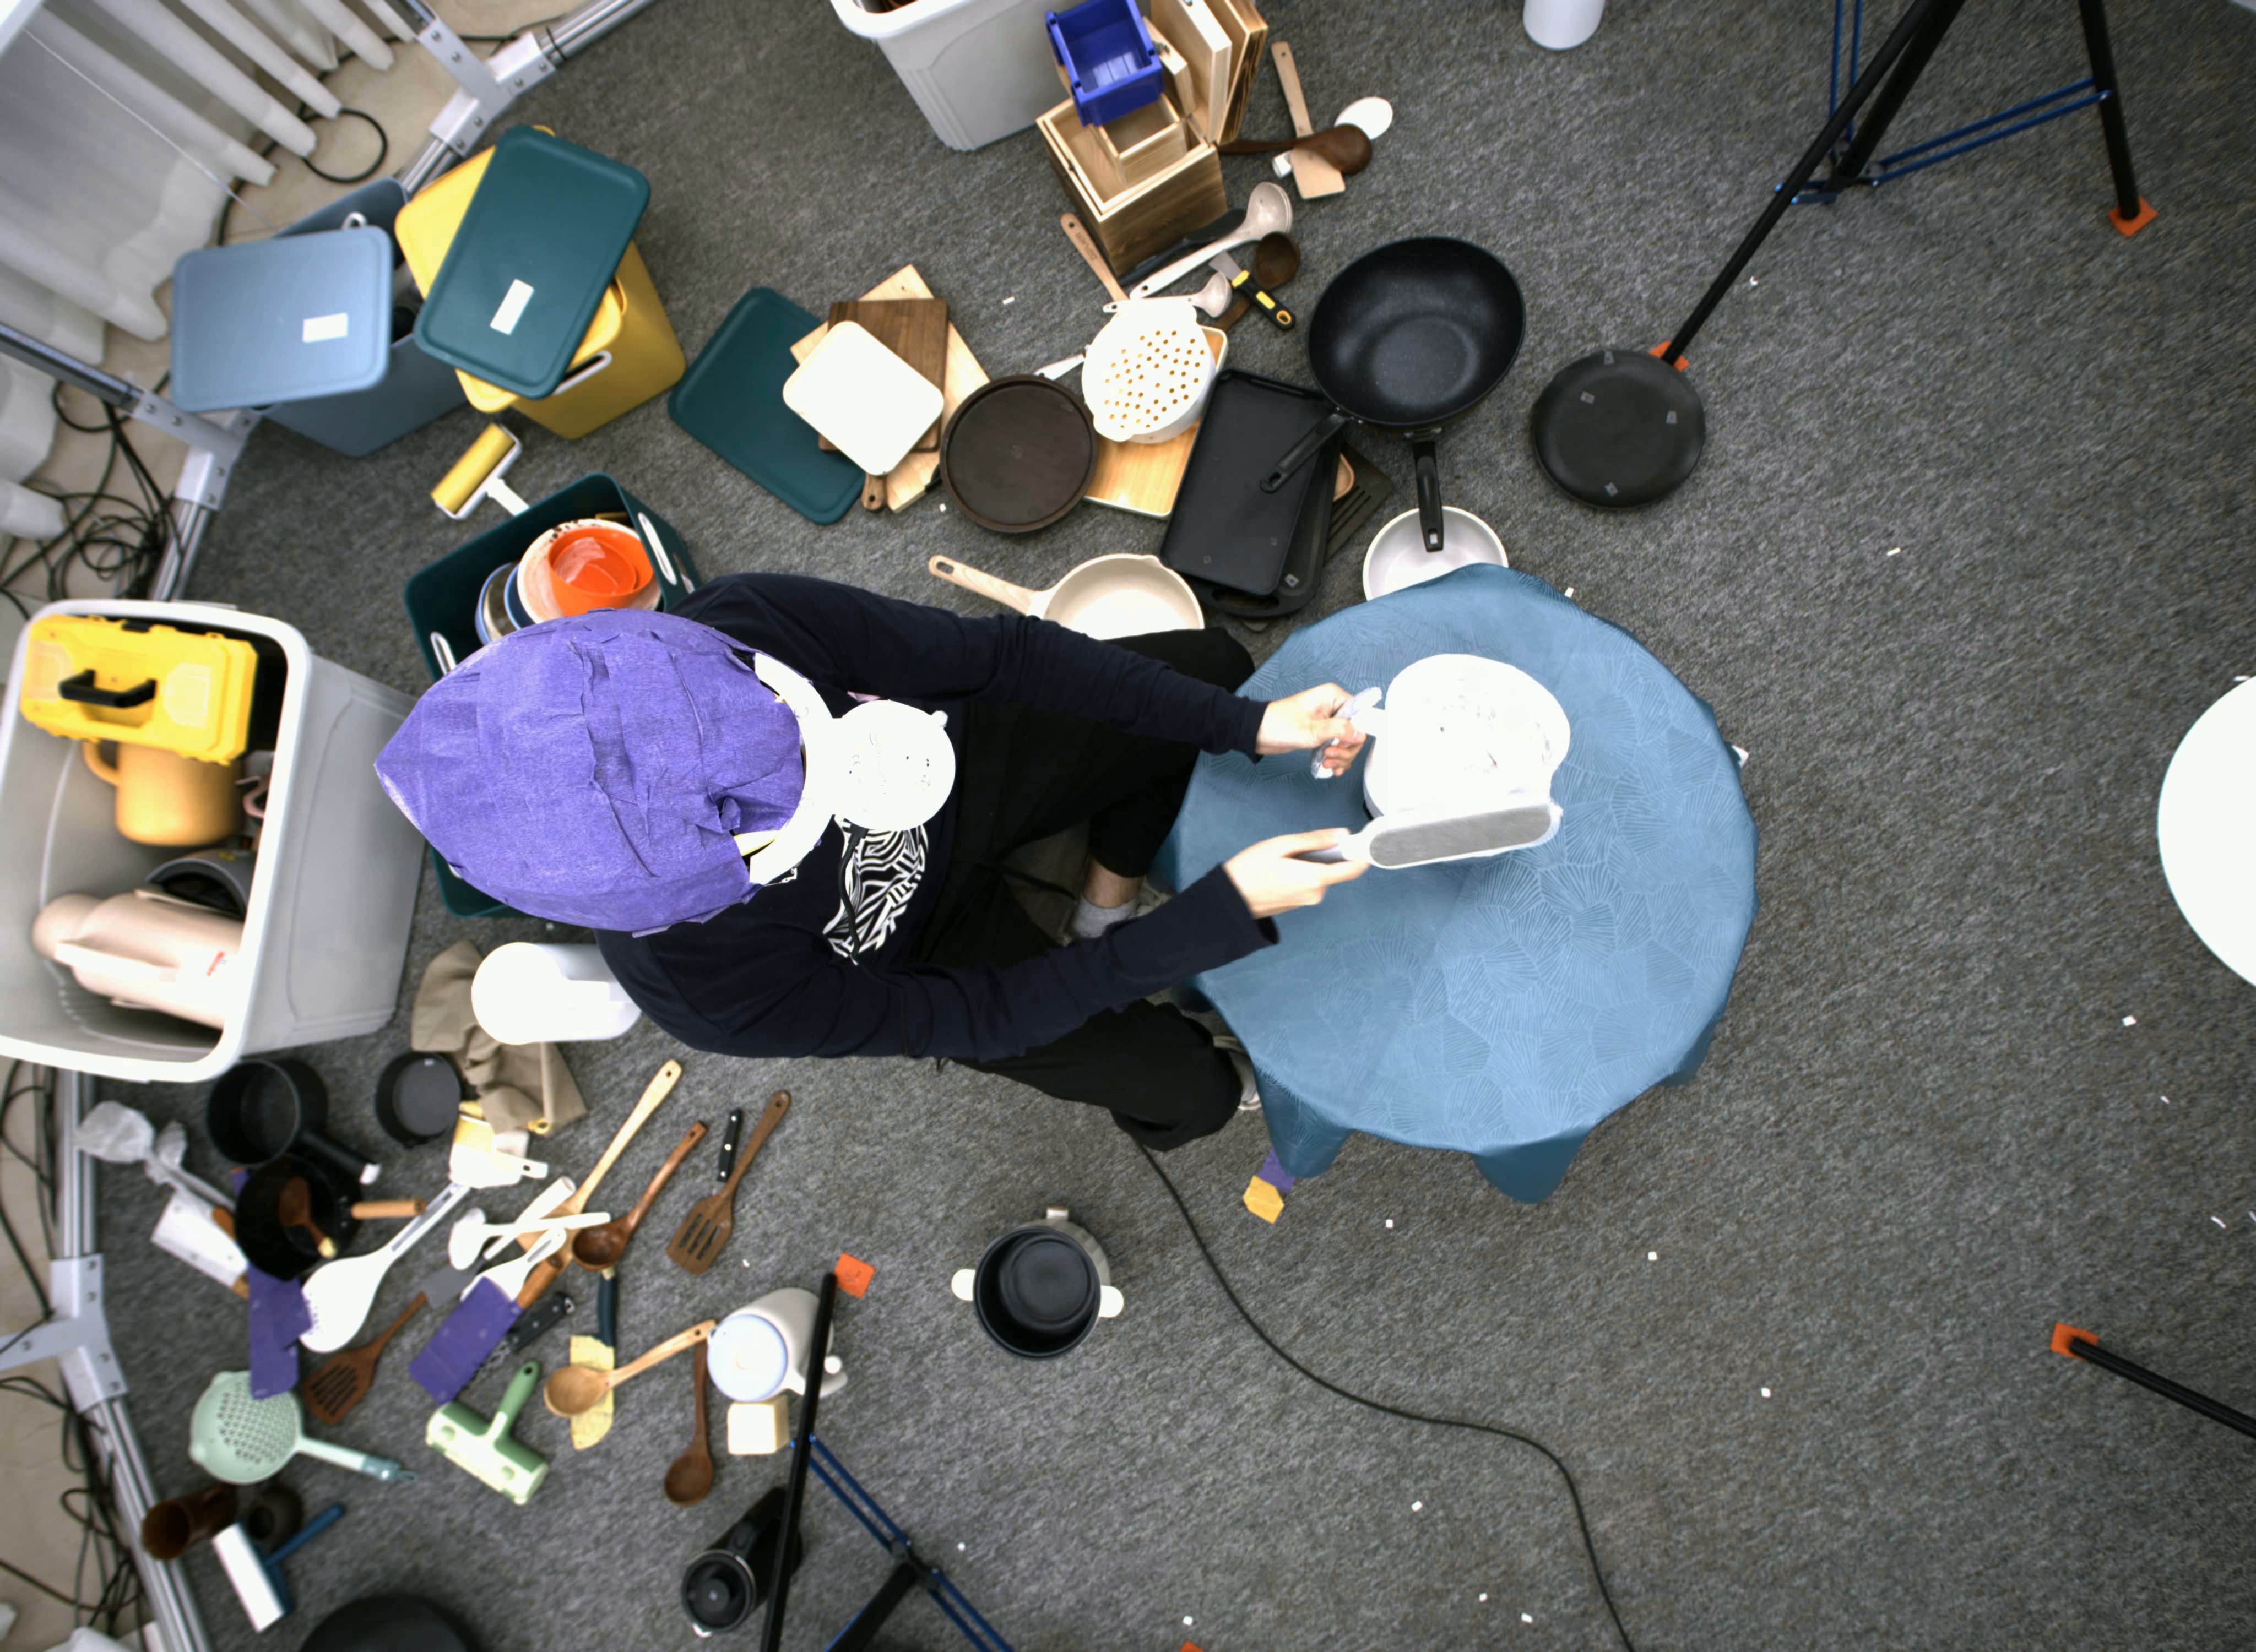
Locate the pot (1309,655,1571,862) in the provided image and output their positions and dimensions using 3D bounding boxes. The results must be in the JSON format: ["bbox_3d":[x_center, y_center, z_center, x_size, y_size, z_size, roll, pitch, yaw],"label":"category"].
[{"bbox_3d":[0.300,-0.070,1.352,0.234,0.140,0.174,13,47,4],"label":"pot"}]

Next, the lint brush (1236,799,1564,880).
[{"bbox_3d":[0.253,0.016,1.299,0.311,0.061,0.020,-9,46,13],"label":"lint brush"}]
